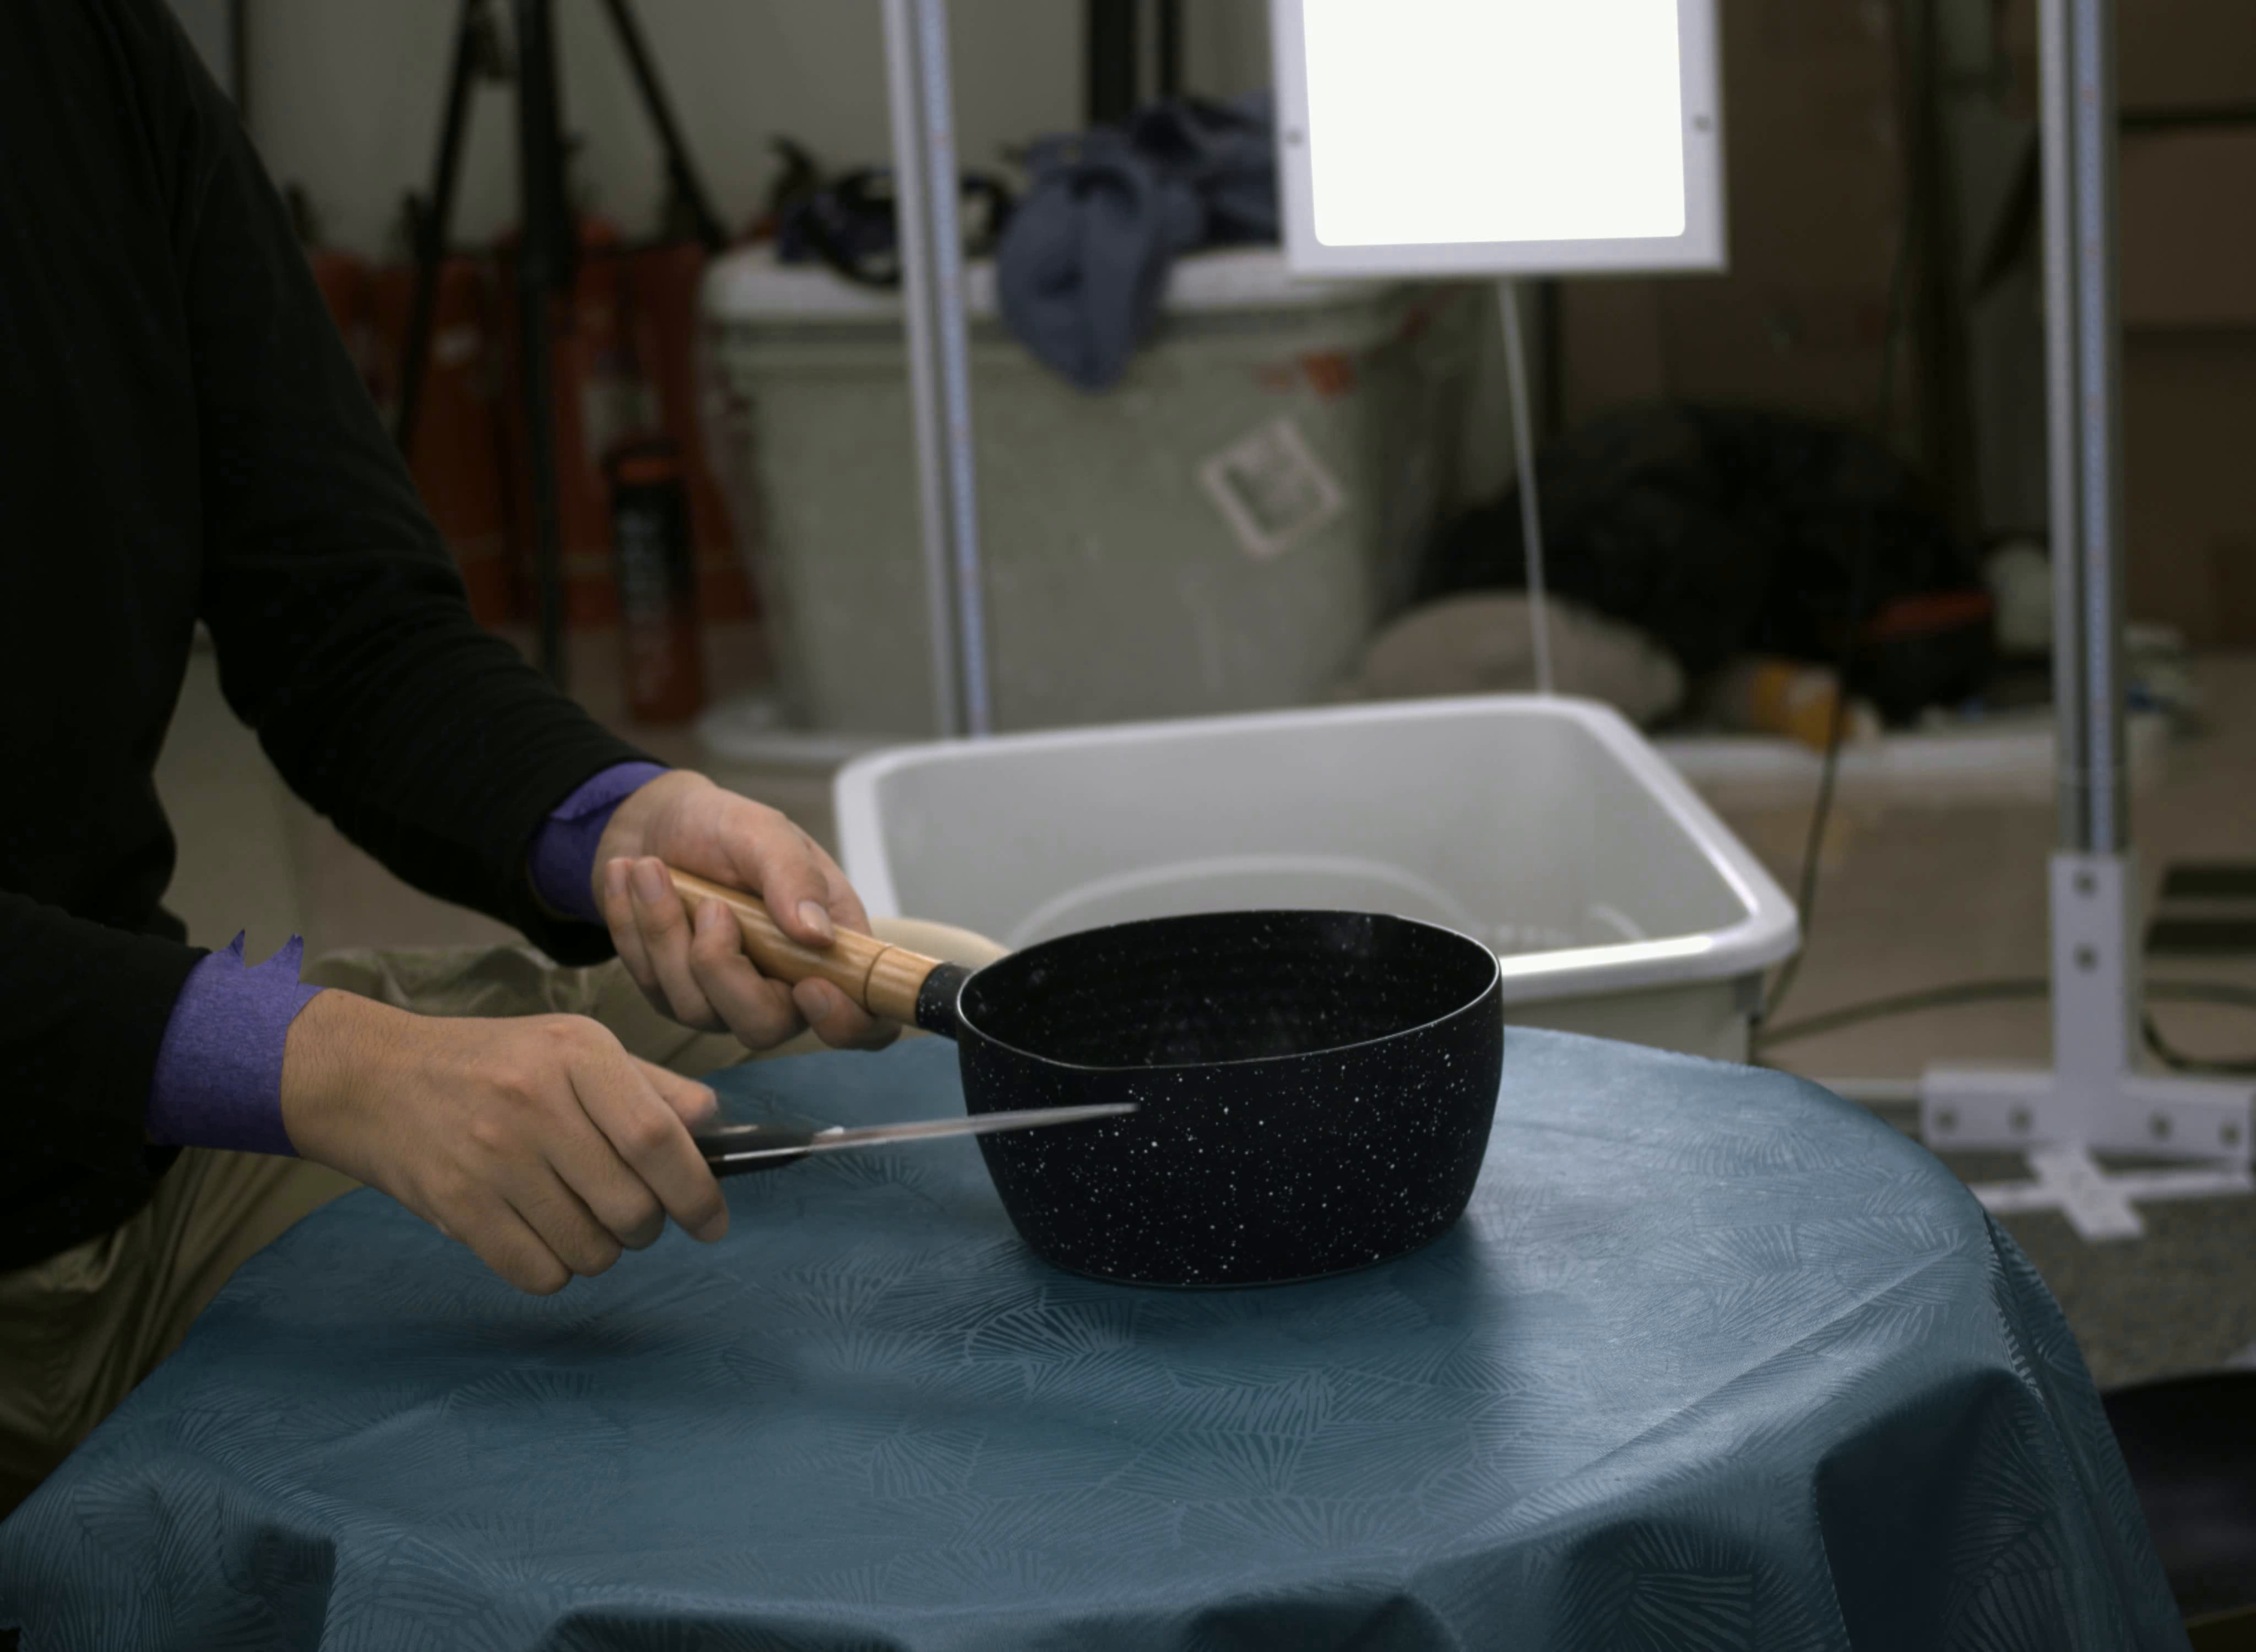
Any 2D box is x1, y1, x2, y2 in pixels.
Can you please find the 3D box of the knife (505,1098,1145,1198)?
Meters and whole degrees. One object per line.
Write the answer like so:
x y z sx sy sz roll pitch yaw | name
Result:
-0.100 0.099 1.744 0.243 0.016 0.024 -8 7 30 | knife

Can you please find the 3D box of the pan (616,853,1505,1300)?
-0.033 0.077 1.886 0.349 0.108 0.202 5 18 32 | pan
